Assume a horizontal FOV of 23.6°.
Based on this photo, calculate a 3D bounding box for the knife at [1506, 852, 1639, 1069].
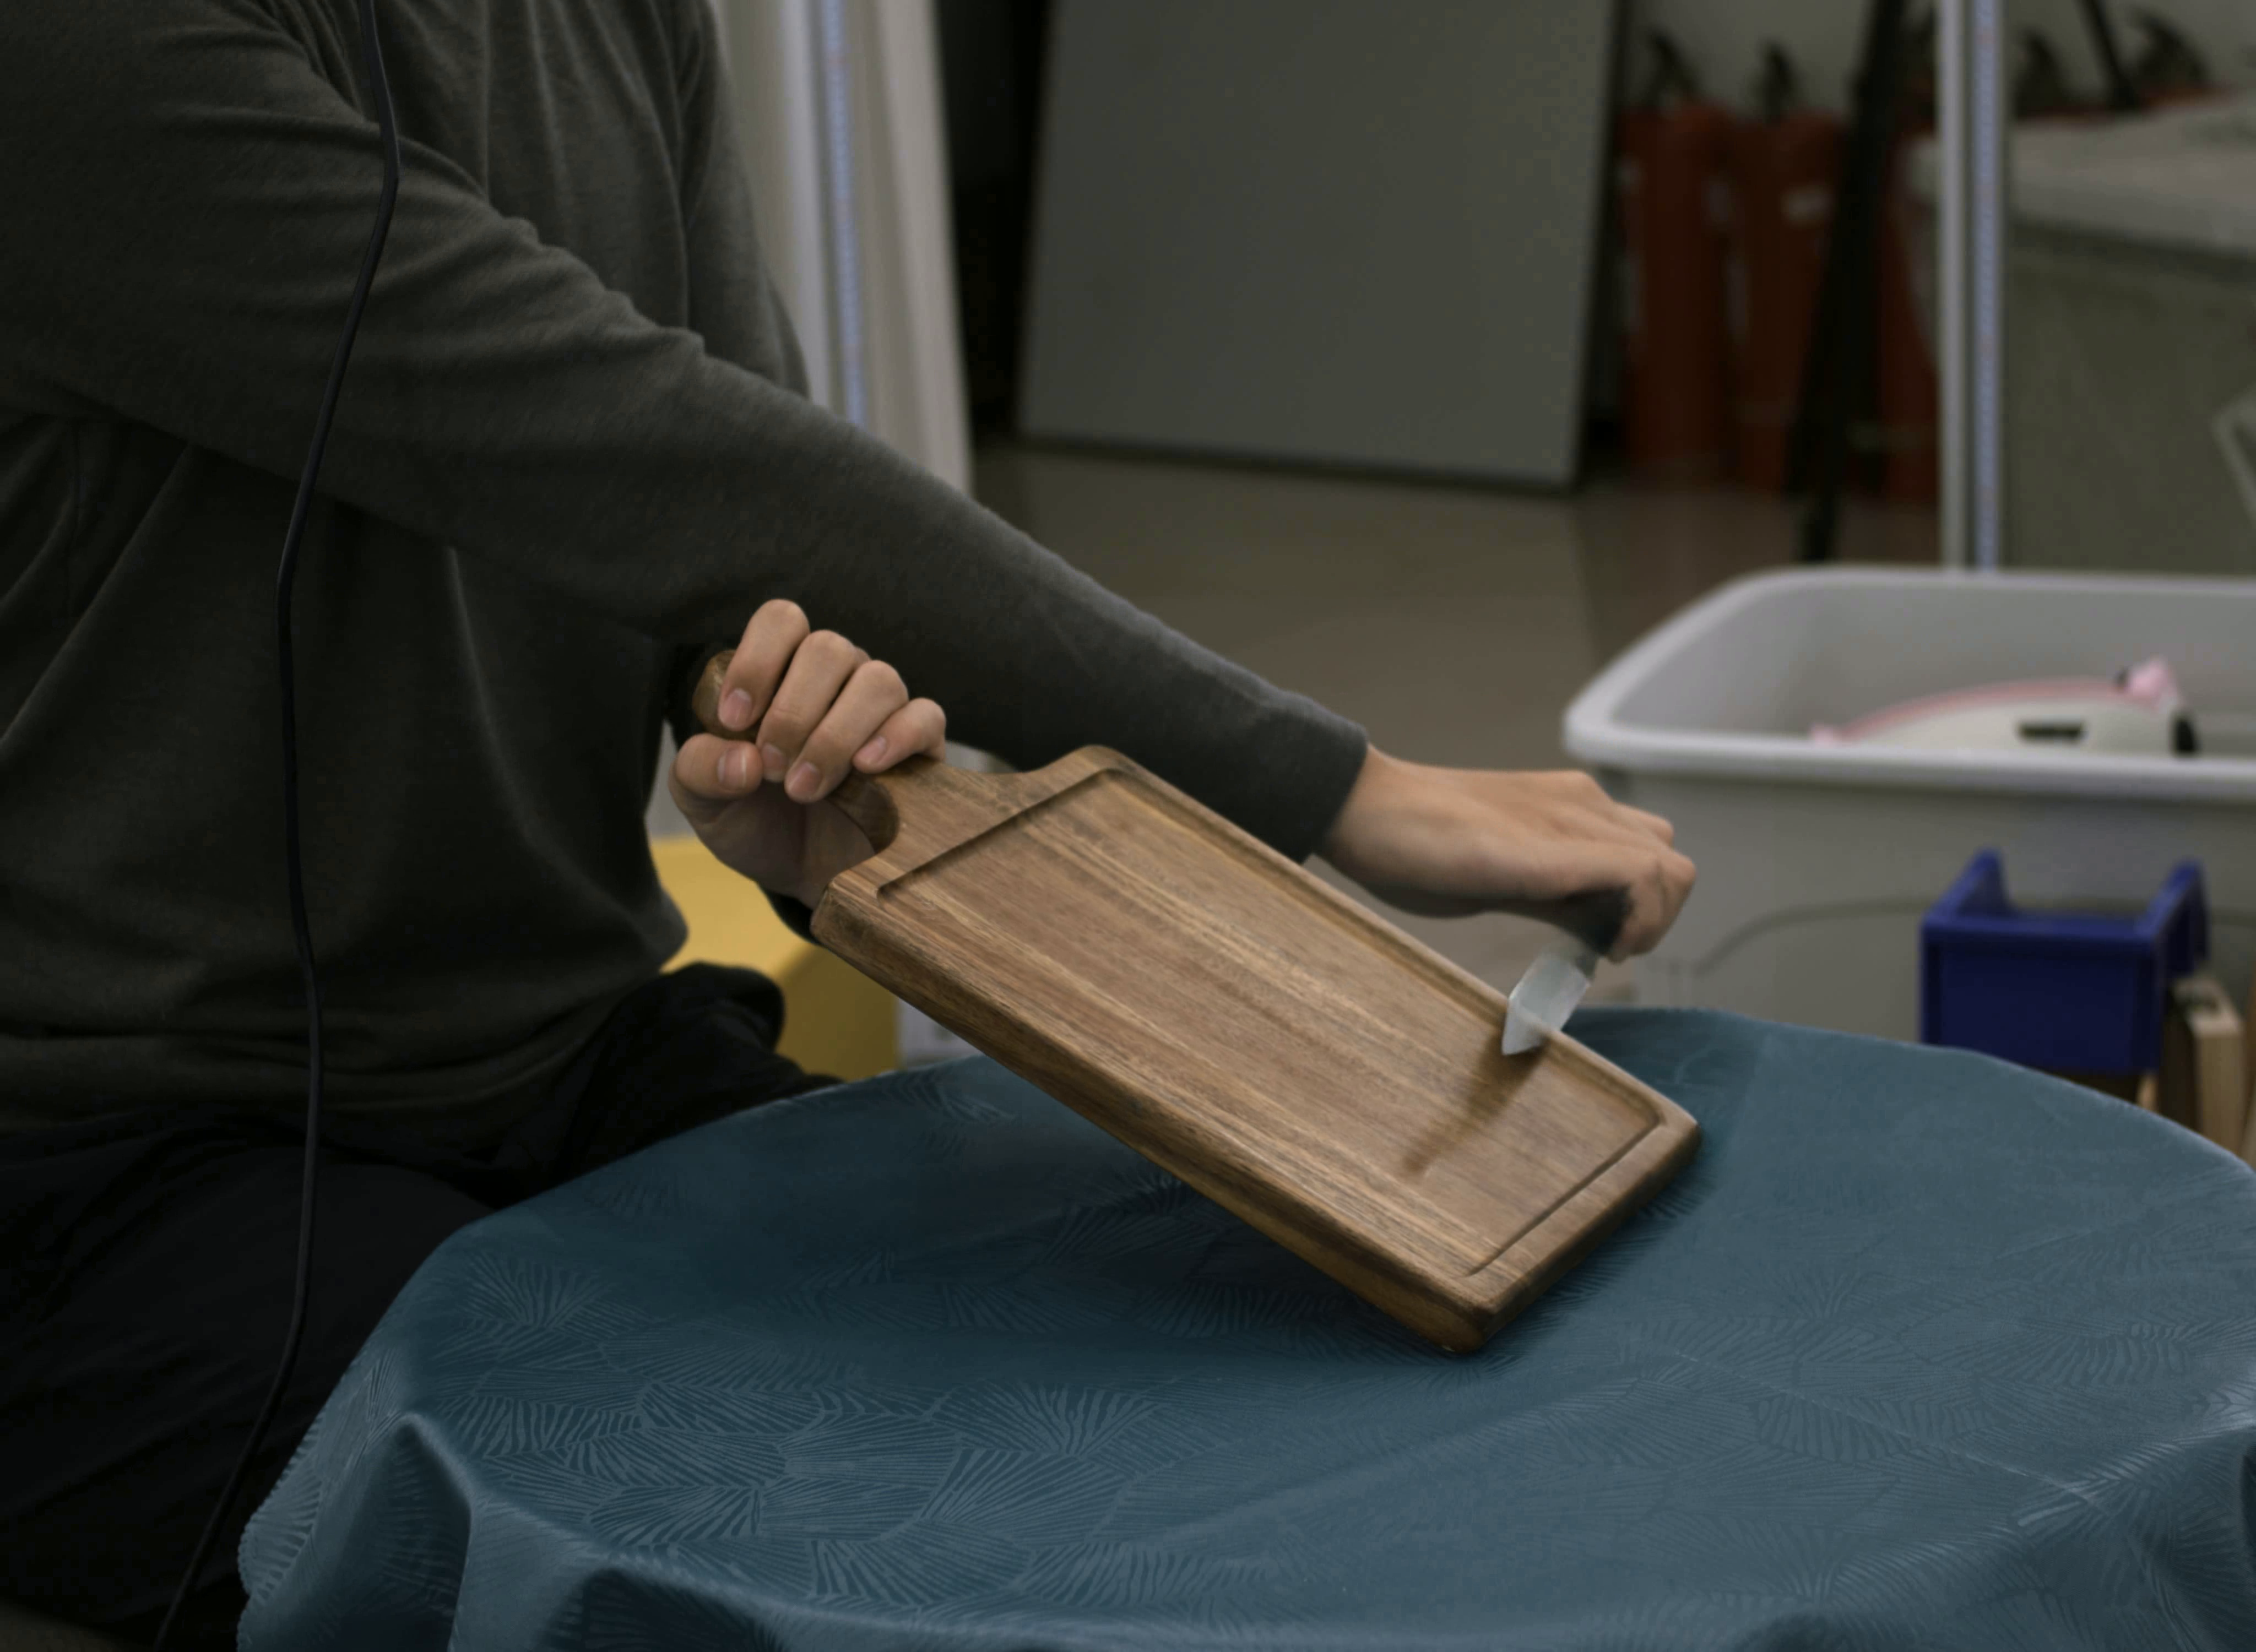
[{"bbox_3d":[0.148,0.045,1.824,0.024,0.016,0.236,37,20,2],"label":"knife"}]

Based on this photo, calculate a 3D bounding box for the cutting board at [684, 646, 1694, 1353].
[{"bbox_3d":[0.003,0.039,1.723,0.353,0.023,0.198,32,26,17],"label":"cutting board"}]
